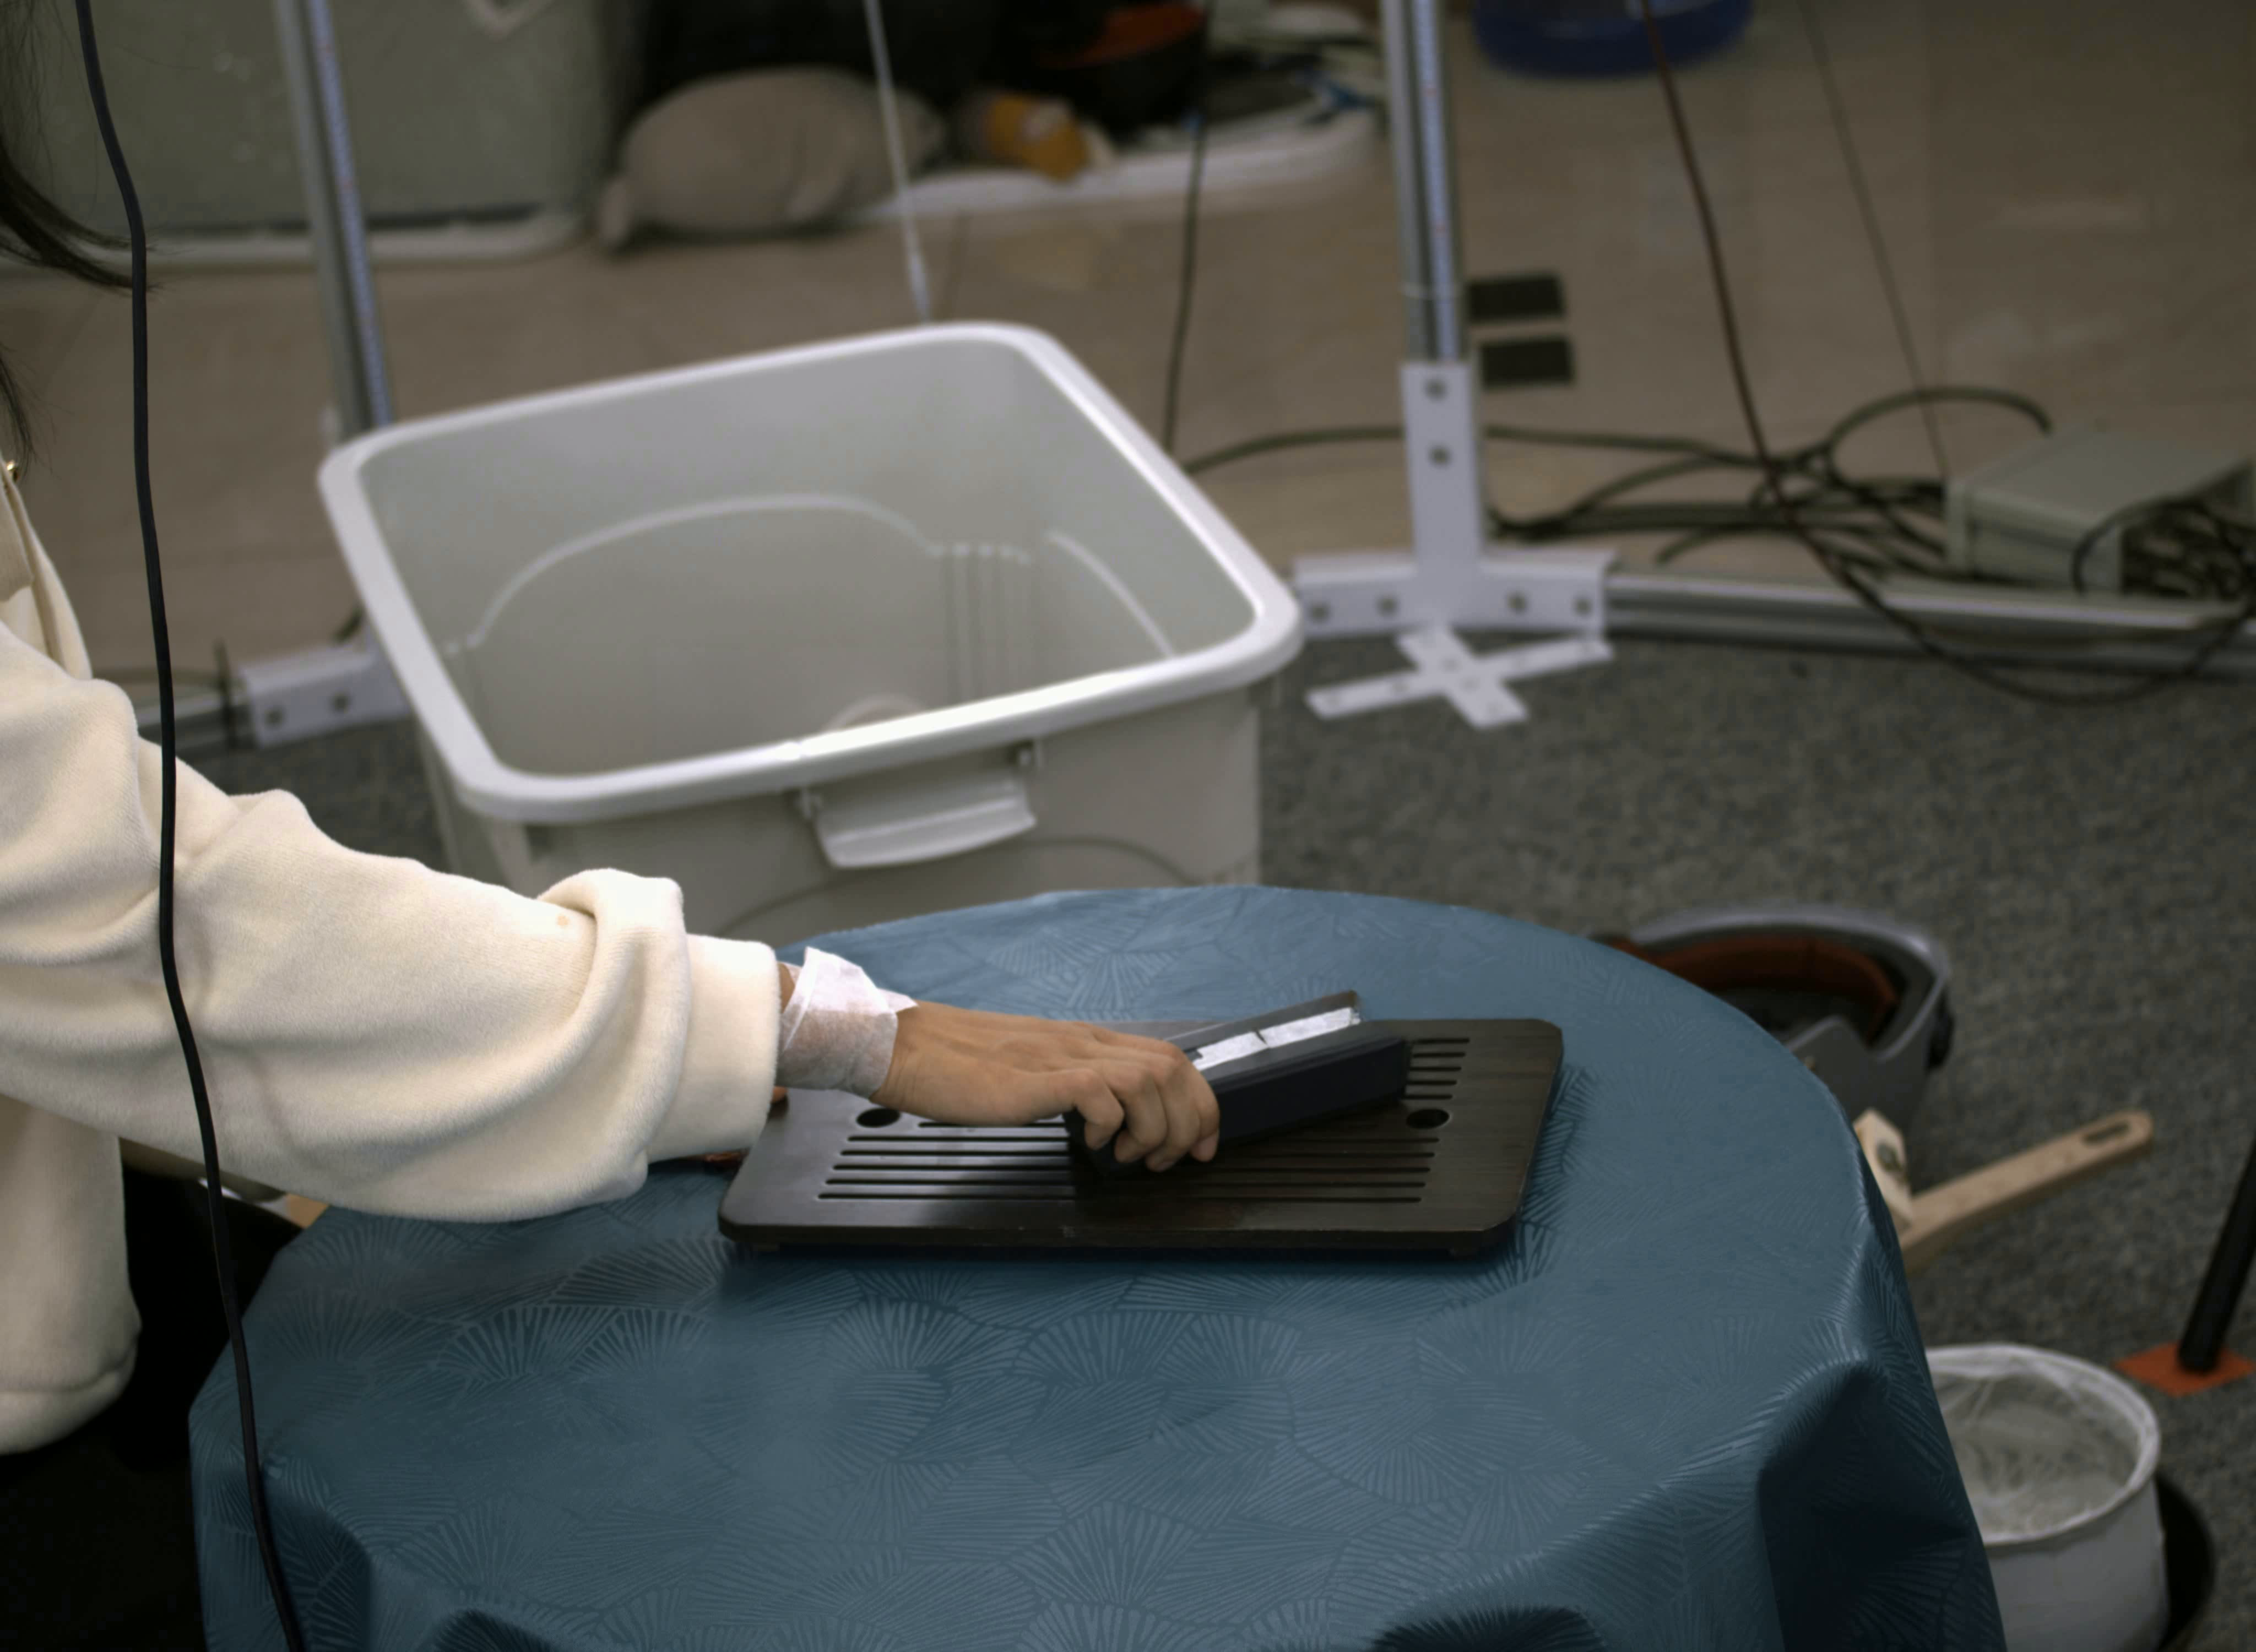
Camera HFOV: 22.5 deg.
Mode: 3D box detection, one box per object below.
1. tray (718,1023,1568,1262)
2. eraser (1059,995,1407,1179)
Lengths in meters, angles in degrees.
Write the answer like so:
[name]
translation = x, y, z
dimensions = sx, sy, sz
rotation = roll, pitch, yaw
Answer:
[tray]
translation = 0.008, 0.121, 2.163
dimensions = 0.305, 0.019, 0.167
rotation = 0, 25, 13
[eraser]
translation = 0.041, 0.098, 2.155
dimensions = 0.125, 0.031, 0.053
rotation = -16, 22, -16
